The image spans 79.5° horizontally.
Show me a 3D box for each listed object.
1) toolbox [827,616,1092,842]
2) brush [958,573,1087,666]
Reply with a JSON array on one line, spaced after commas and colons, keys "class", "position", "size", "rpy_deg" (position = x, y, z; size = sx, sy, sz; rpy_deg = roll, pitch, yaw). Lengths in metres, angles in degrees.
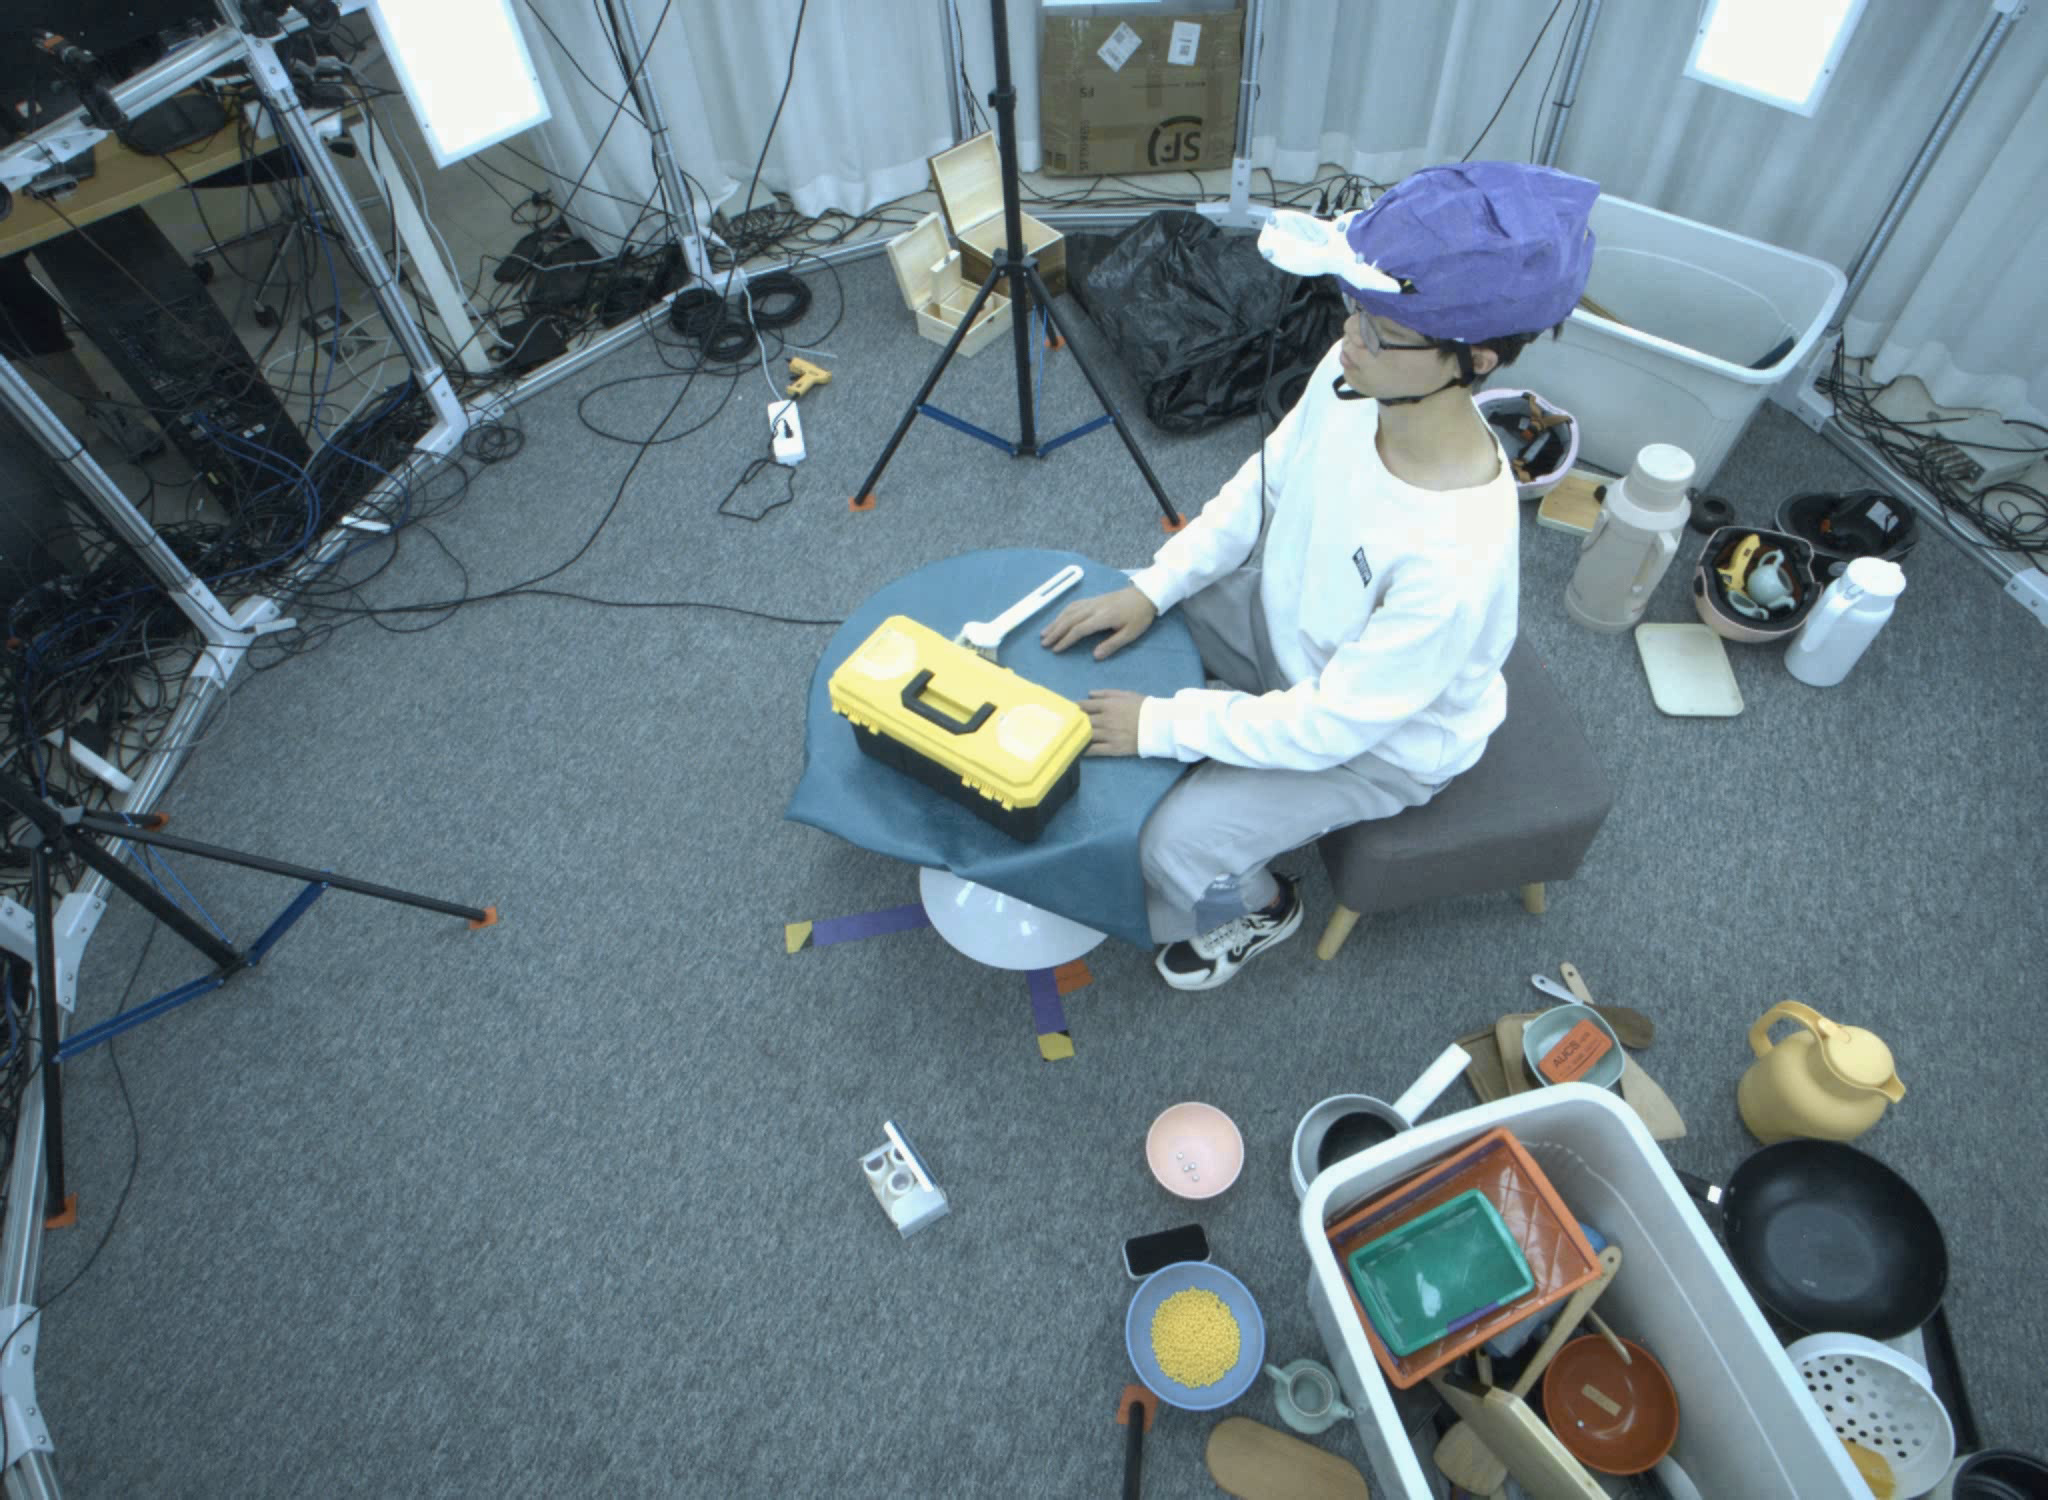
[{"class": "toolbox", "position": [-0.086, -0.030, 1.701], "size": [0.346, 0.174, 0.182], "rpy_deg": [29, 61, 20]}, {"class": "brush", "position": [0.002, -0.208, 1.925], "size": [0.269, 0.056, 0.068], "rpy_deg": [-34, 79, -38]}]
